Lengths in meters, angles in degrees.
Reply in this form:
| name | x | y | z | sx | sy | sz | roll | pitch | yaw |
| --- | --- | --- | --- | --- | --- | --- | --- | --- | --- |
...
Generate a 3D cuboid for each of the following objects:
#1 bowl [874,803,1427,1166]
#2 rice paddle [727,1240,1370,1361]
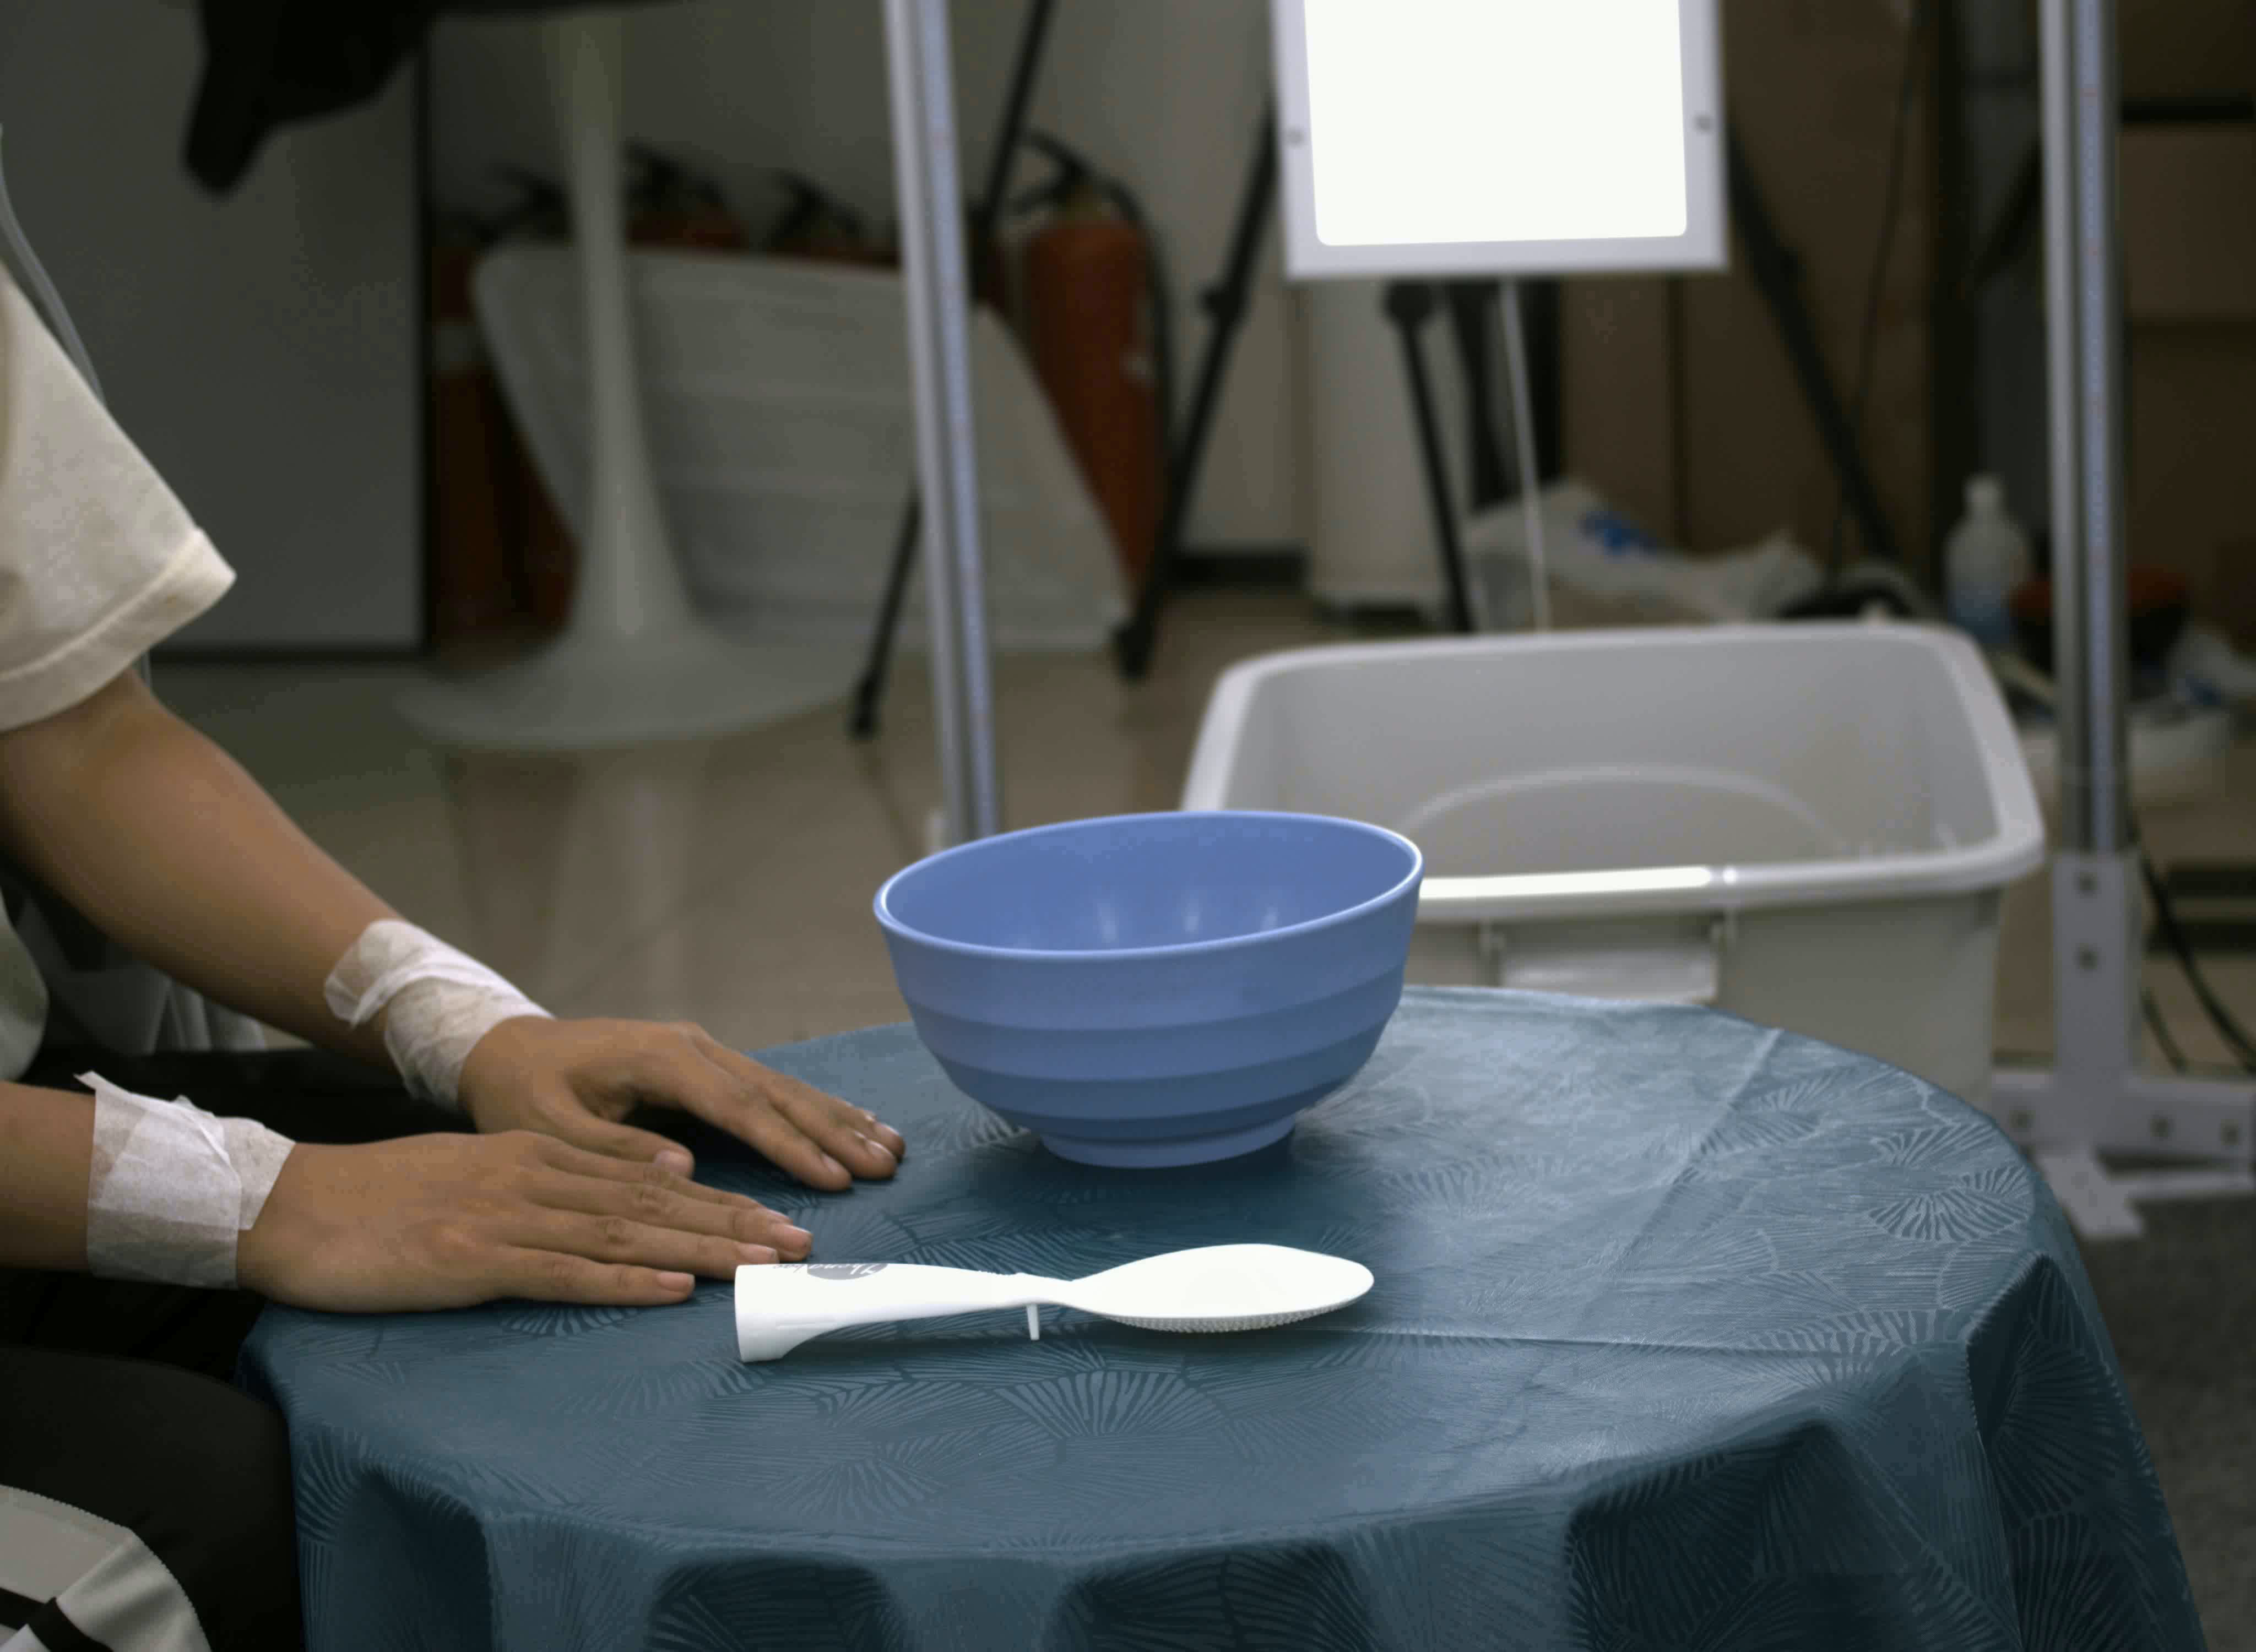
| name | x | y | z | sx | sy | sz | roll | pitch | yaw |
| --- | --- | --- | --- | --- | --- | --- | --- | --- | --- |
| bowl | 0.011 | 0.062 | 1.954 | 0.196 | 0.096 | 0.196 | -4 | 14 | 0 |
| rice paddle | -0.025 | 0.148 | 1.755 | 0.205 | 0.029 | 0.068 | -4 | 15 | 4 |
